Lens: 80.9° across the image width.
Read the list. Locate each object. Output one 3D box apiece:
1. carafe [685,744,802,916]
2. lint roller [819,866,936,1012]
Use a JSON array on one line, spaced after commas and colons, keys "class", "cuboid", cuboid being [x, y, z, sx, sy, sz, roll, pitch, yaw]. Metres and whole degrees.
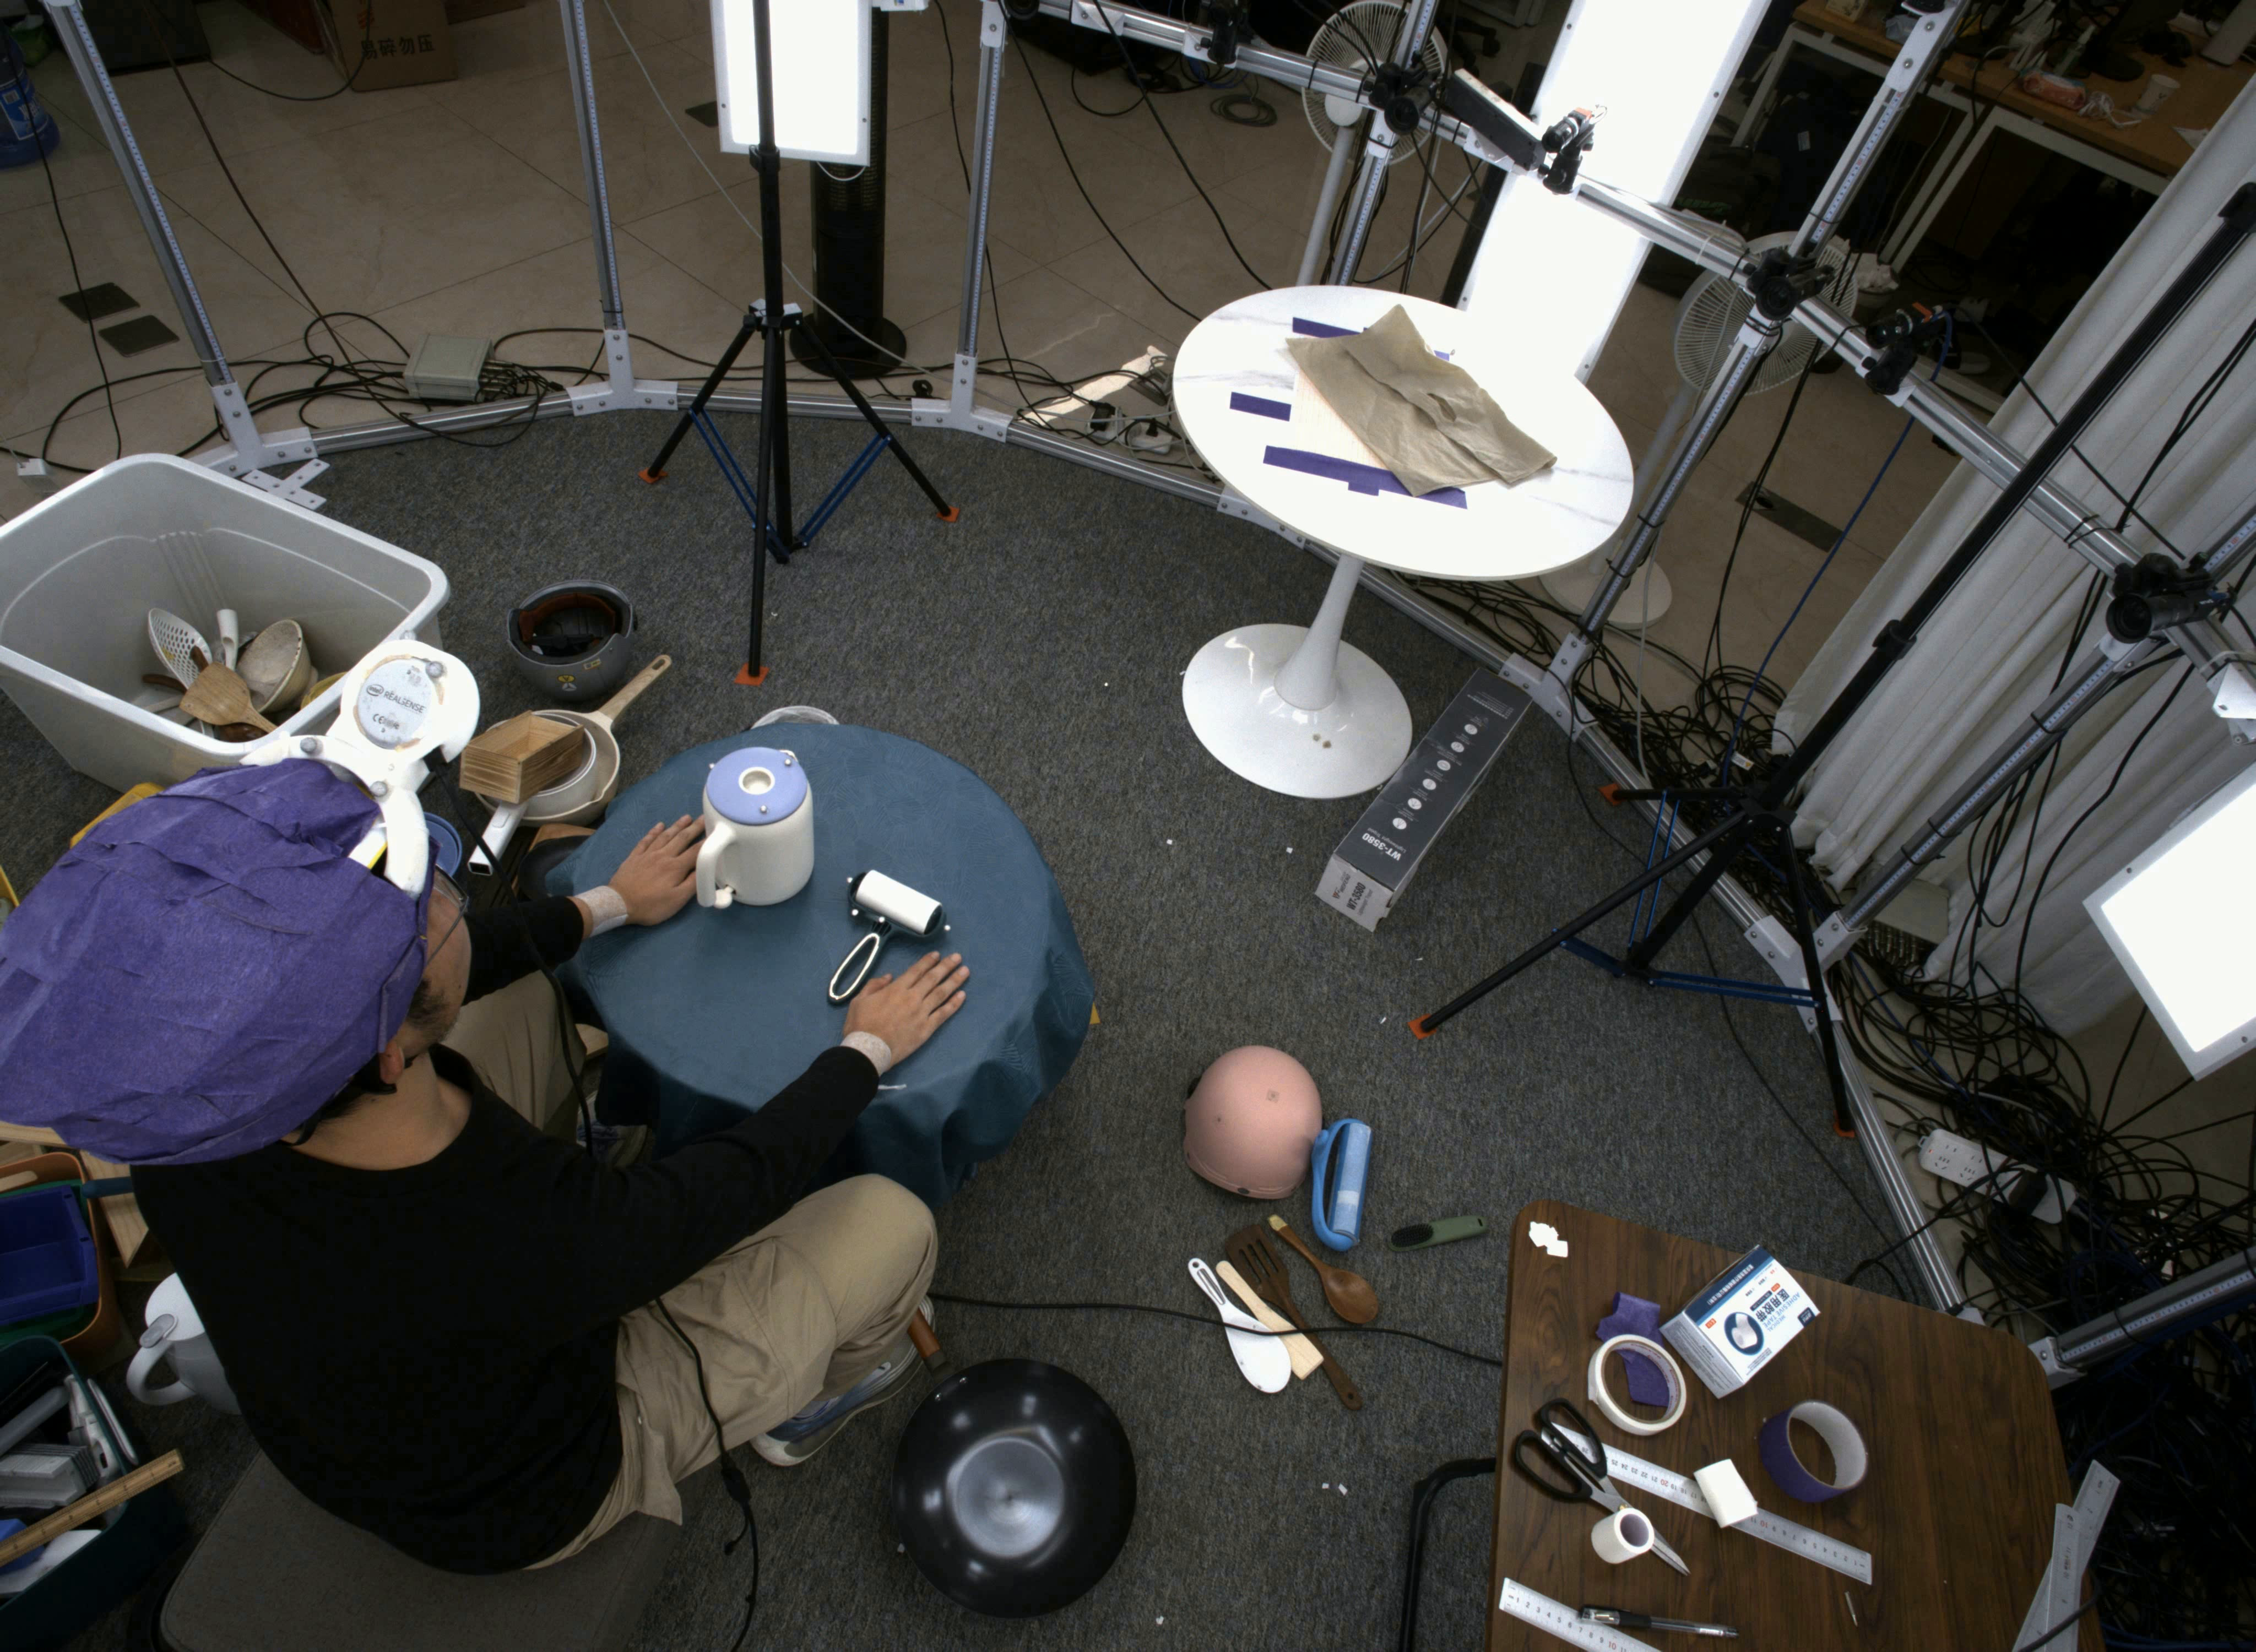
[{"class": "carafe", "cuboid": [-0.482, 0.017, 1.580, 0.130, 0.186, 0.190, 24, 53, 7]}, {"class": "lint roller", "cuboid": [-0.332, 0.145, 1.609, 0.132, 0.049, 0.179, 25, 55, 5]}]
